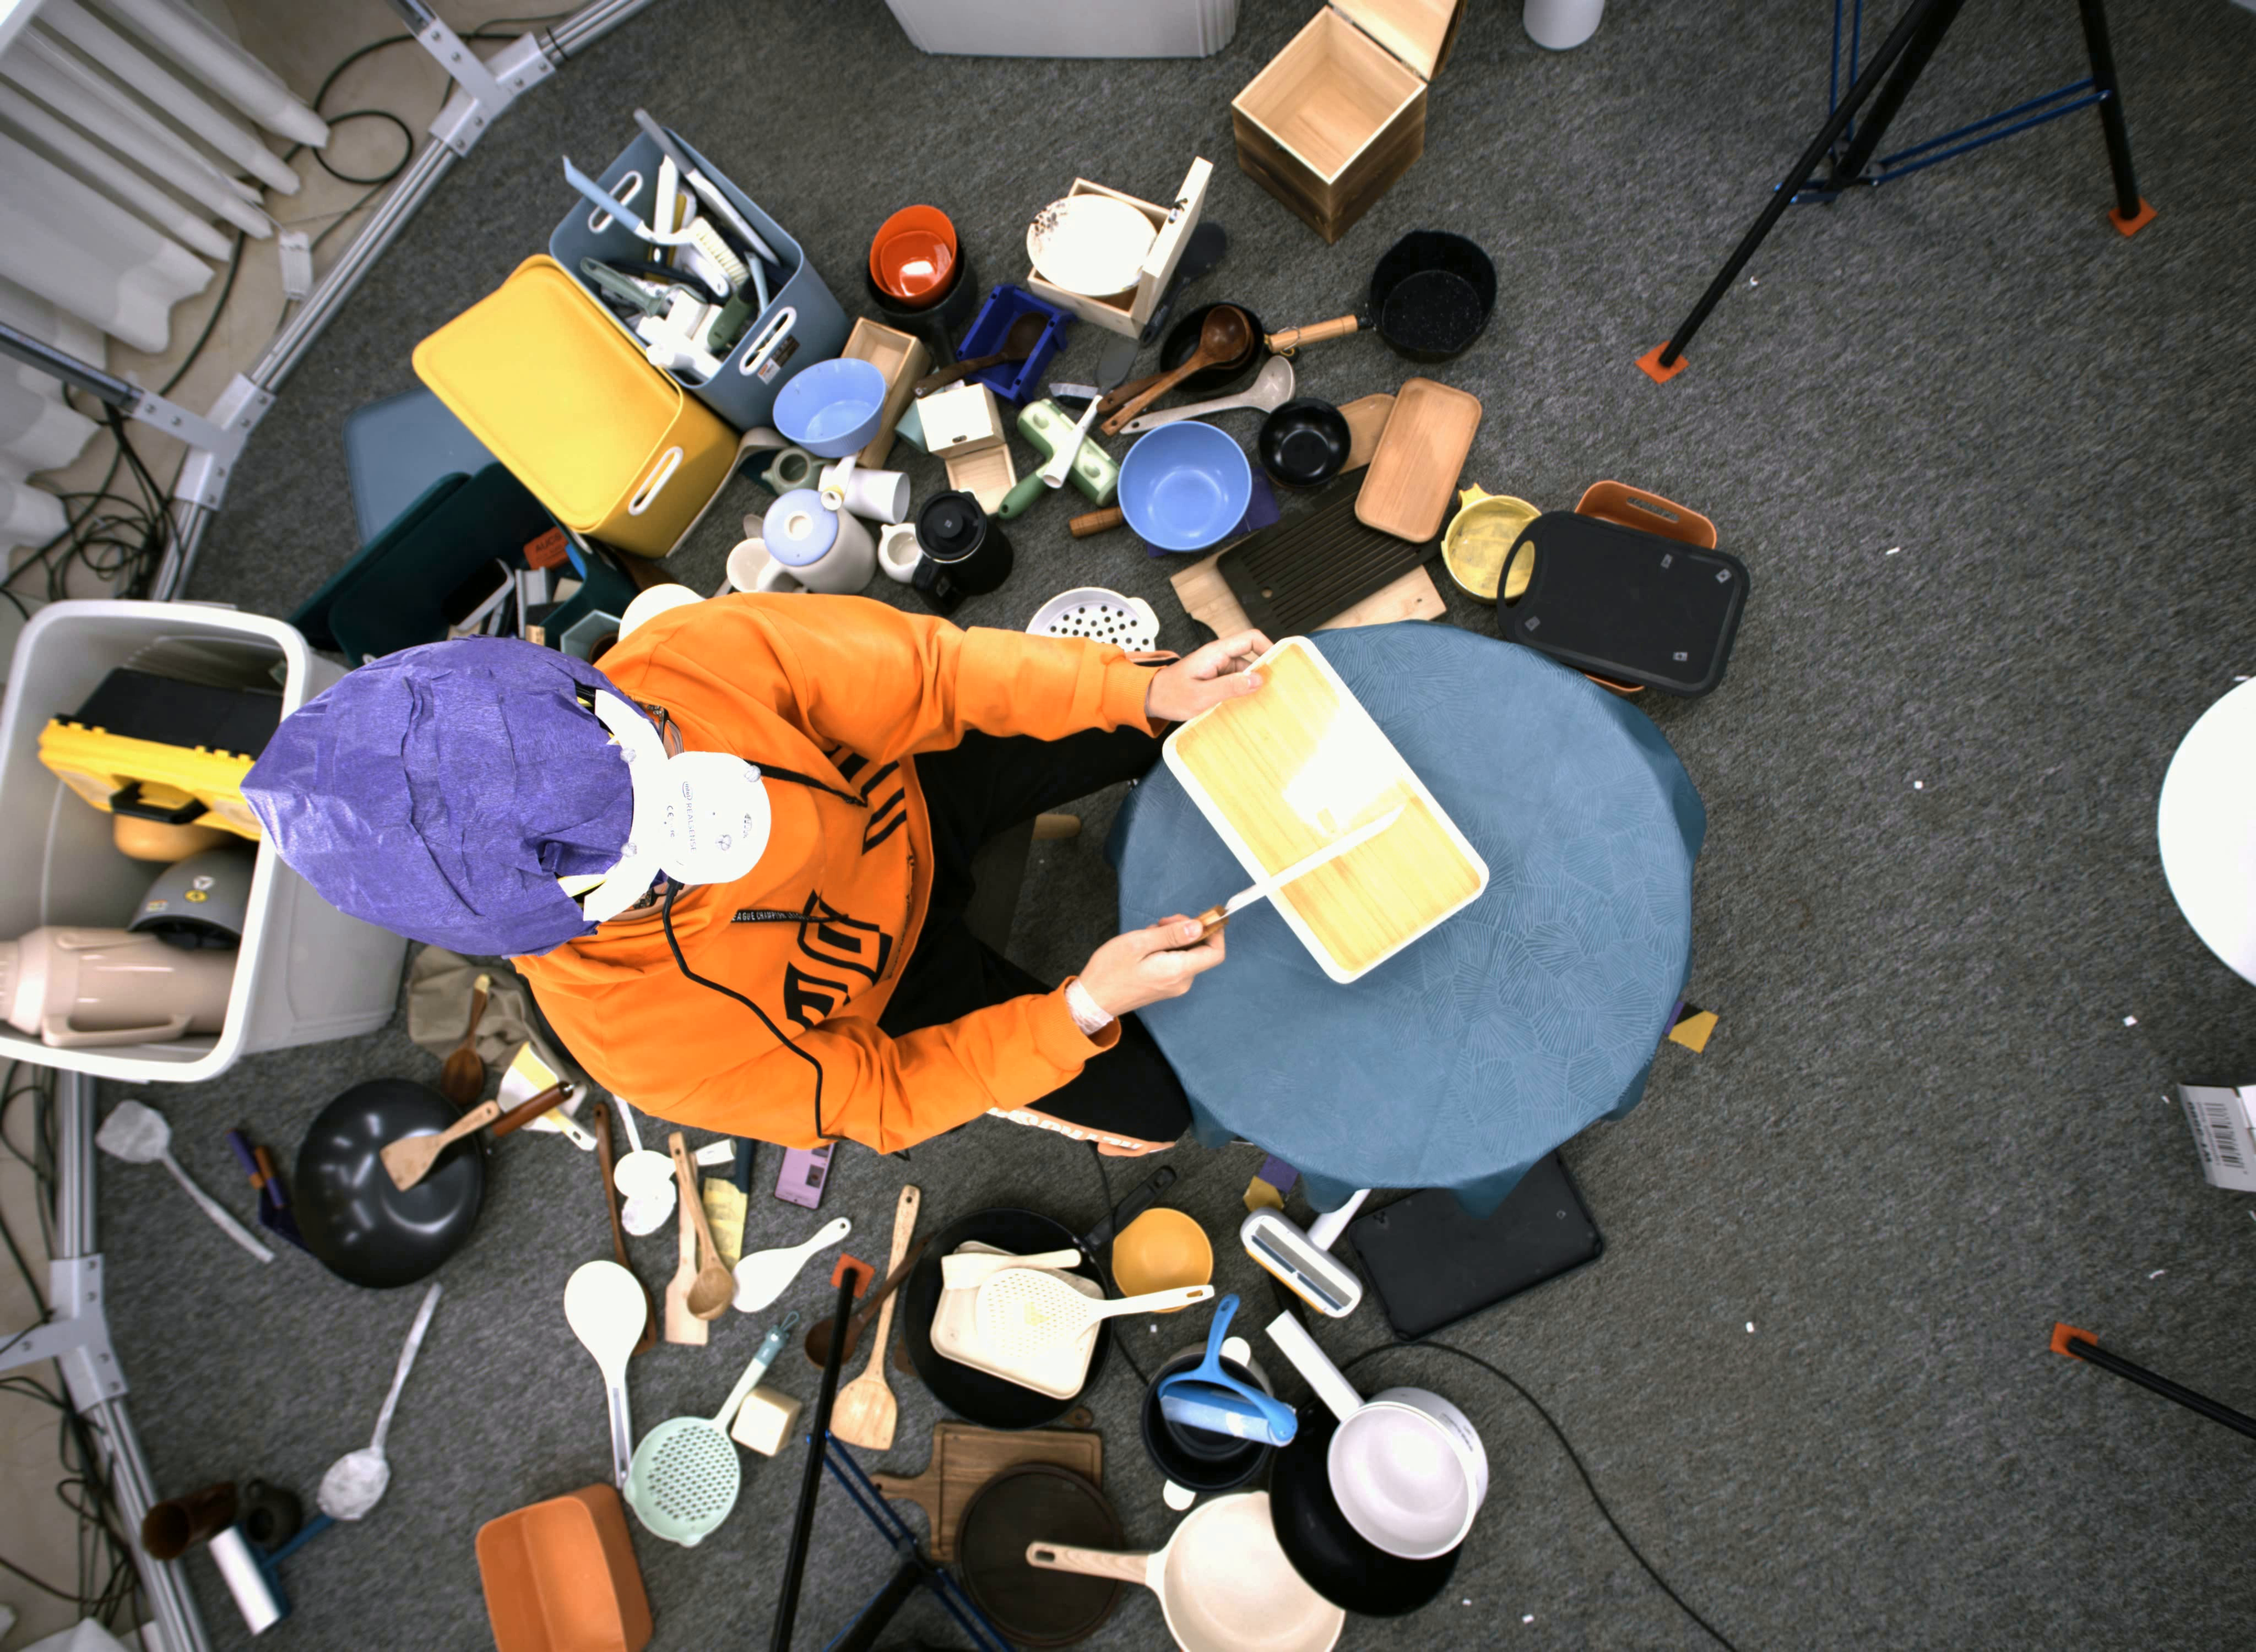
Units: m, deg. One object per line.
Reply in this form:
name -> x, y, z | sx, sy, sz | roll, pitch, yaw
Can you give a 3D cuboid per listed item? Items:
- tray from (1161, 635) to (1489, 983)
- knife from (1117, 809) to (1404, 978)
tray -> 0.185, -0.015, 1.320 | 0.195, 0.027, 0.300 | -39, 87, 31
knife -> 0.124, 0.060, 1.298 | 0.310, 0.091, 0.021 | -31, 92, 25
